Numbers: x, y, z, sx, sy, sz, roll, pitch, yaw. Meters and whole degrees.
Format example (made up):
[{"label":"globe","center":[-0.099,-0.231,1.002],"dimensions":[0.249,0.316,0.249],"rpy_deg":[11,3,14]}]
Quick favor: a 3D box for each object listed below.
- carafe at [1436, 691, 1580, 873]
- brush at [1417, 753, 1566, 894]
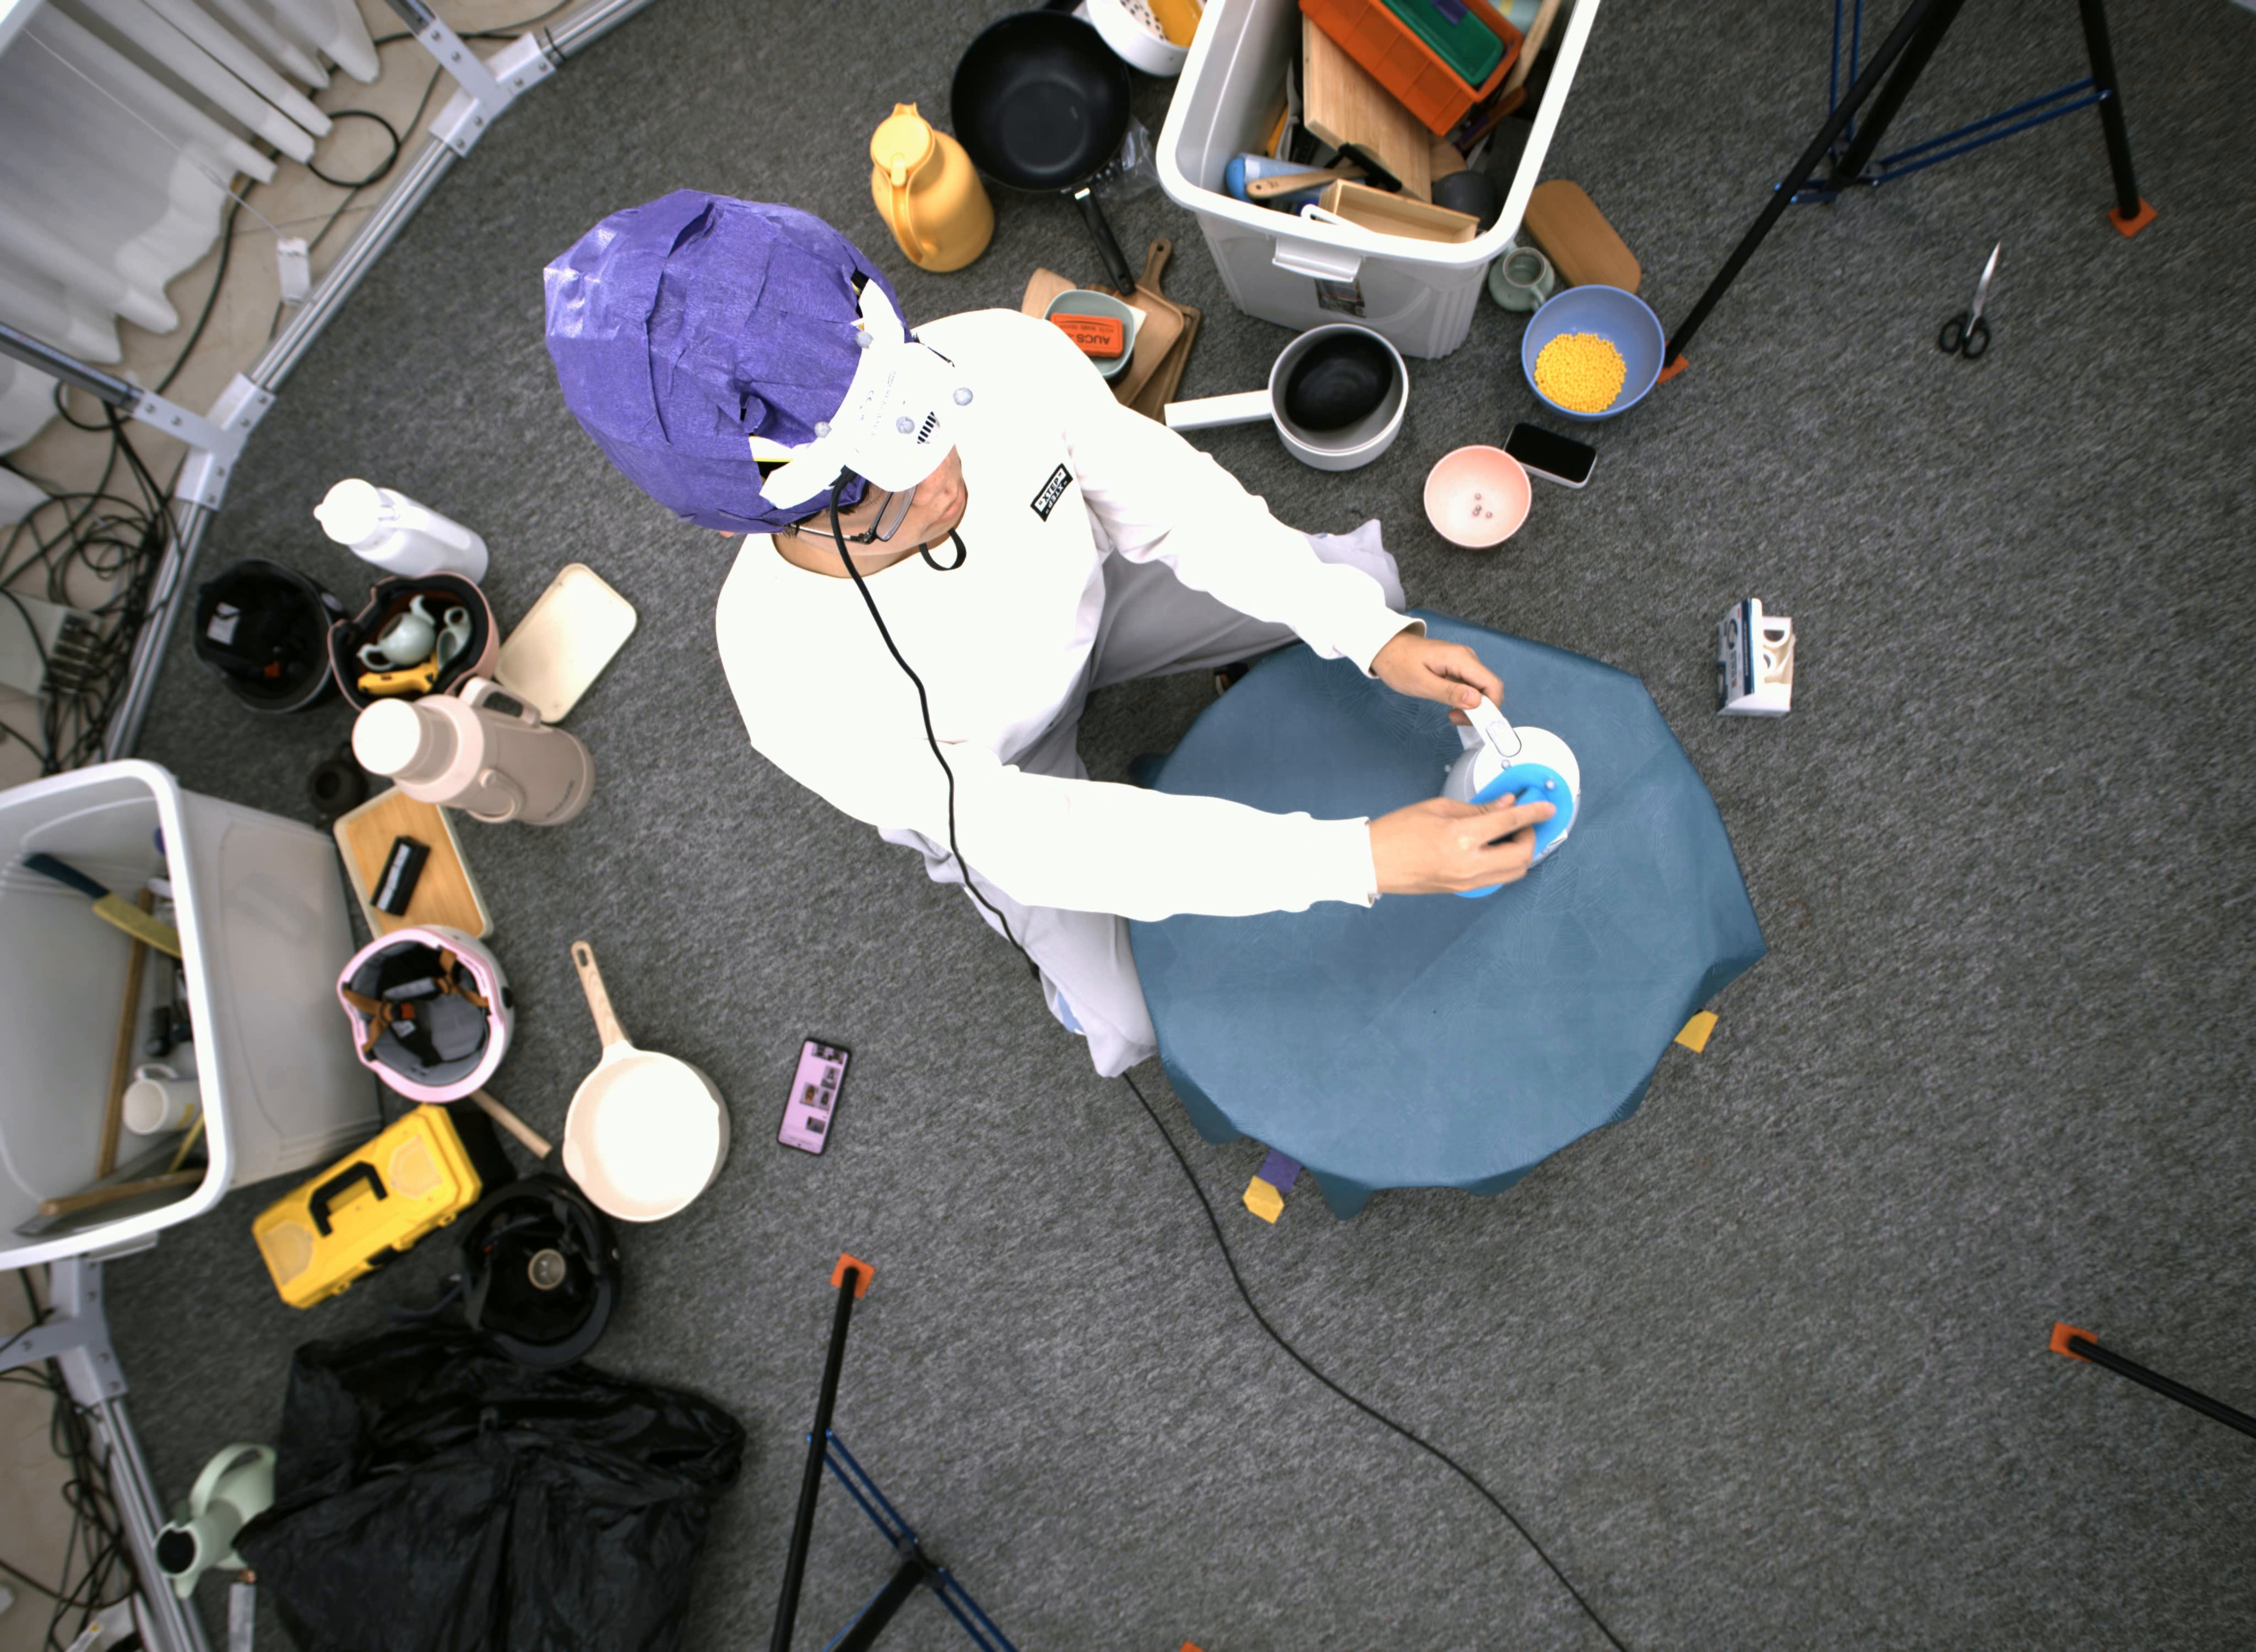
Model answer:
[{"label":"carafe","center":[0.360,-0.048,1.322],"dimensions":[0.133,0.249,0.166],"rpy_deg":[-28,80,6]},{"label":"brush","center":[0.313,-0.001,1.176],"dimensions":[0.143,0.063,0.084],"rpy_deg":[-43,84,16]}]
